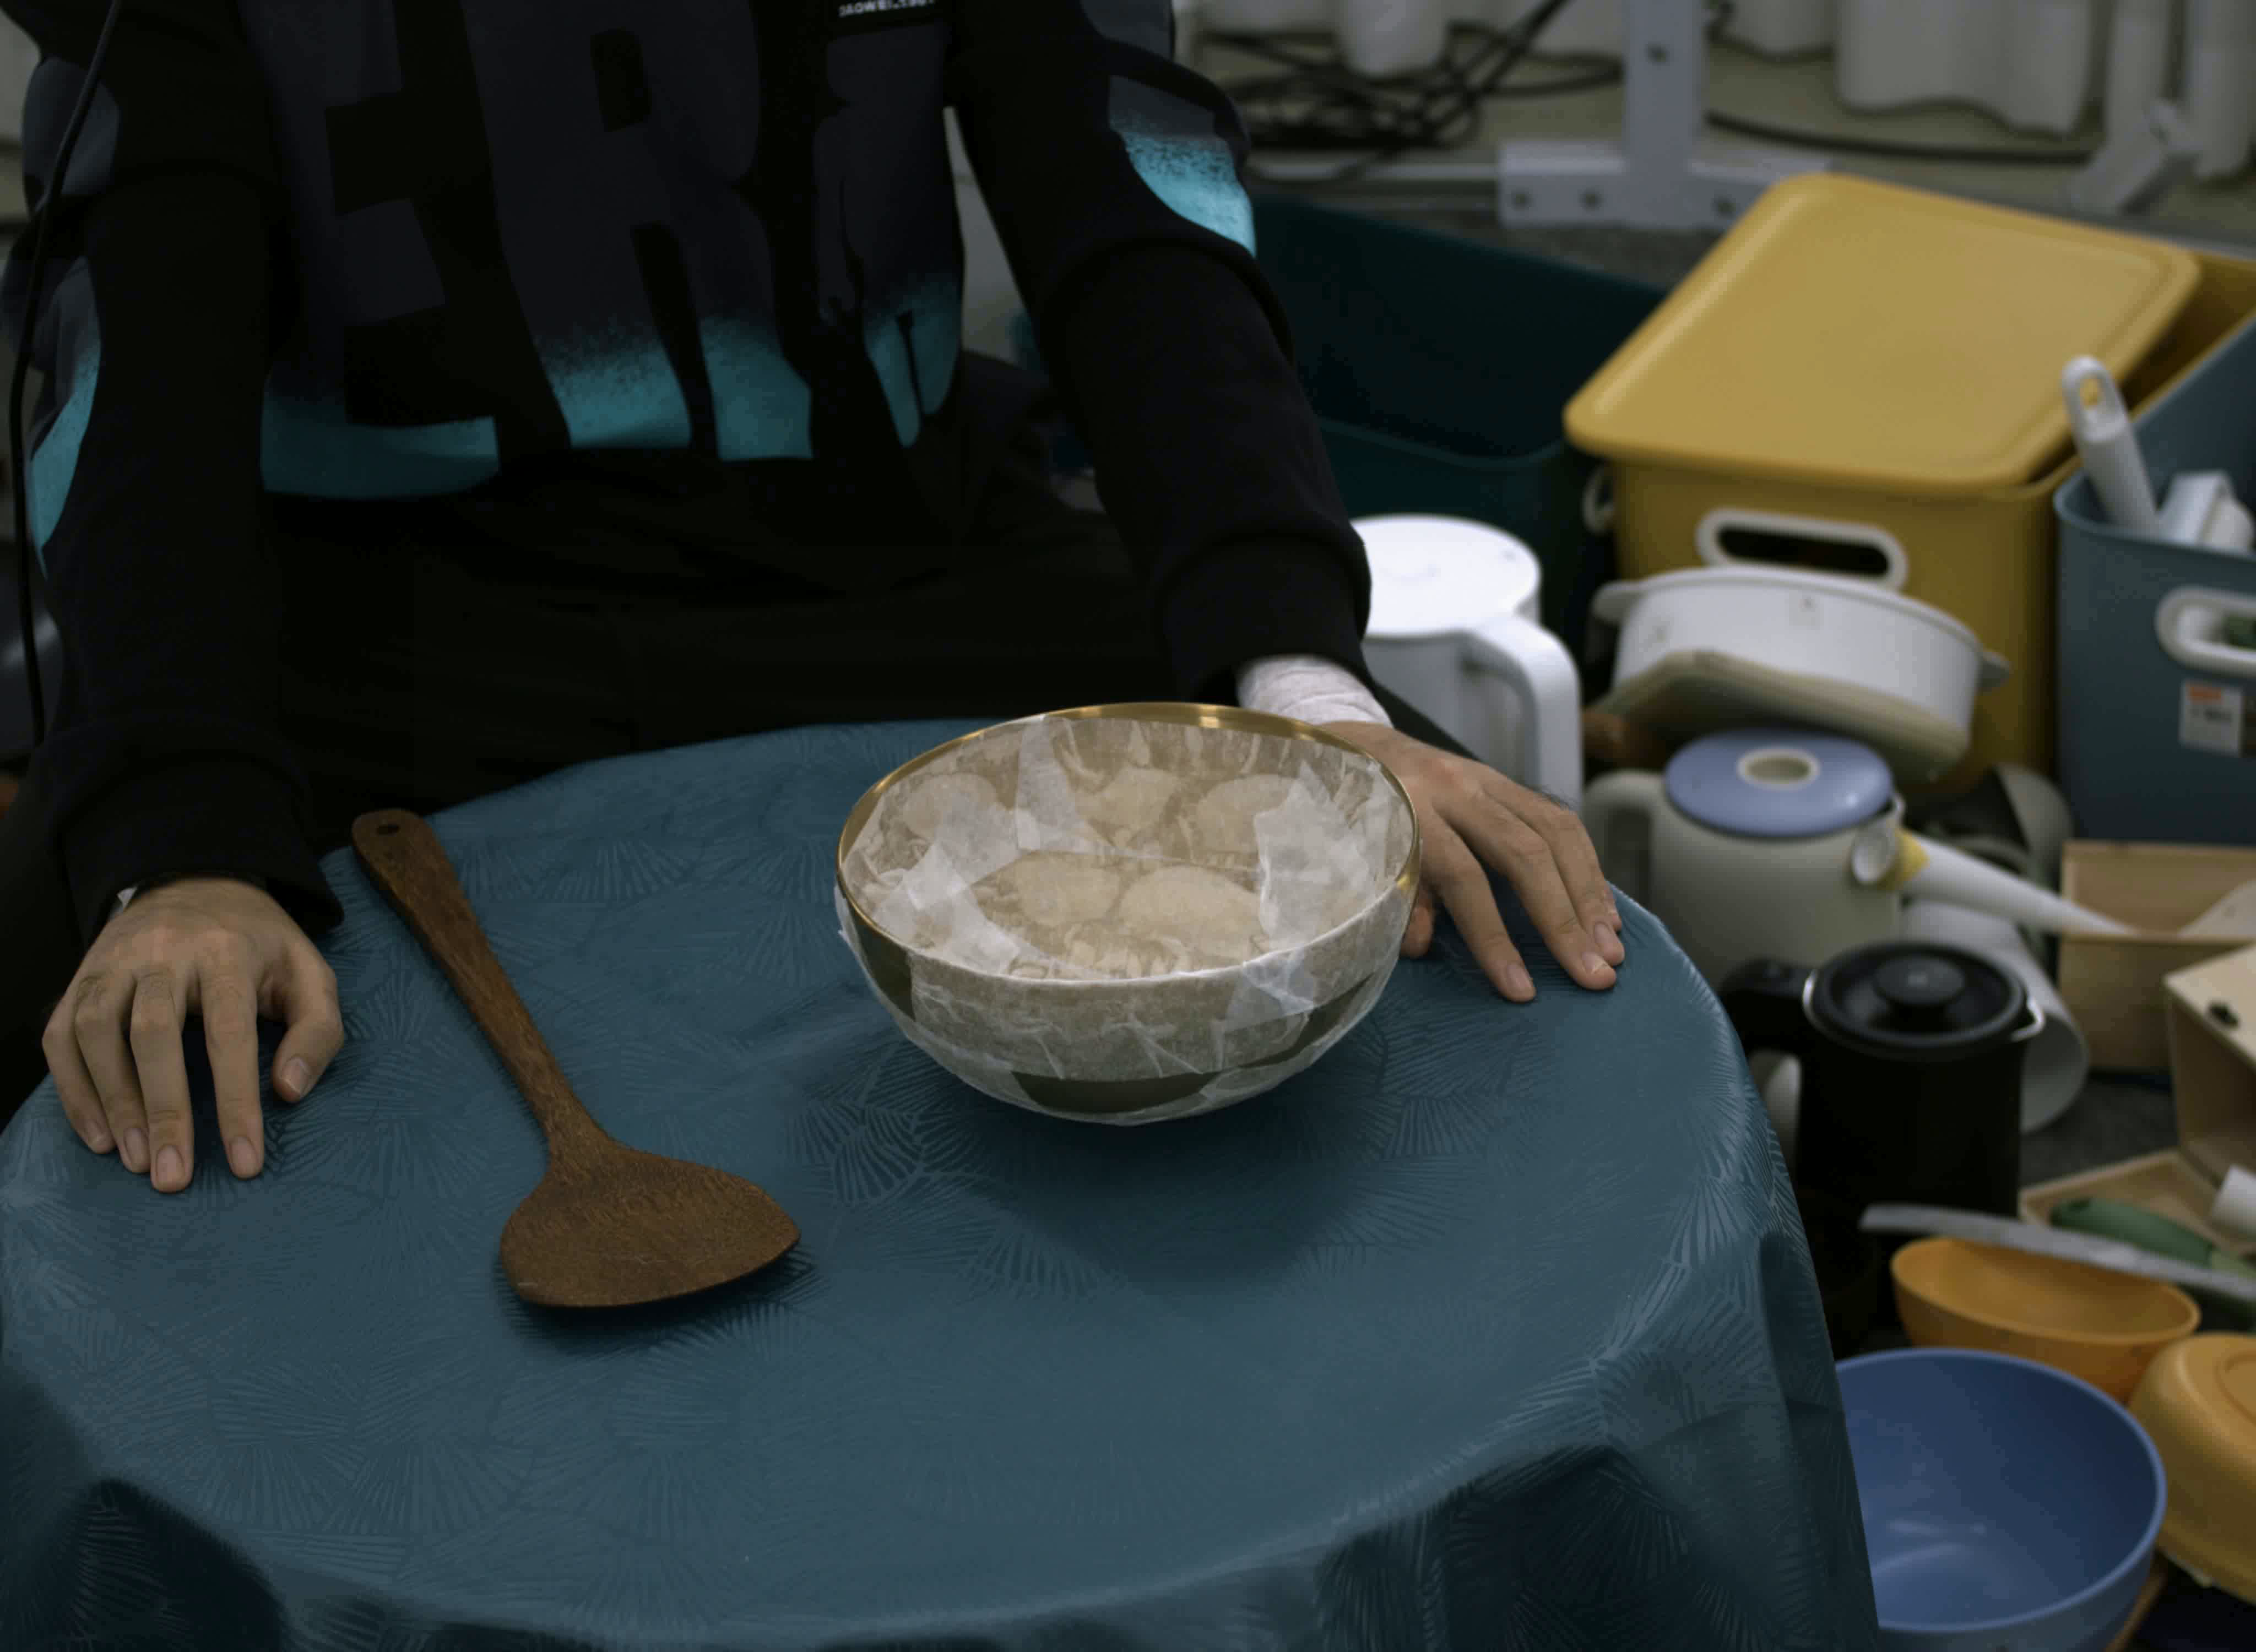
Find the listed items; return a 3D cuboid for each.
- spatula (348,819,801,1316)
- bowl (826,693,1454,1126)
[{"bbox_3d":[-0.213,0.076,1.957,0.096,0.015,0.389,-12,28,-18],"label":"spatula"},{"bbox_3d":[0.005,0.041,1.917,0.213,0.093,0.218,-4,26,2],"label":"bowl"}]
